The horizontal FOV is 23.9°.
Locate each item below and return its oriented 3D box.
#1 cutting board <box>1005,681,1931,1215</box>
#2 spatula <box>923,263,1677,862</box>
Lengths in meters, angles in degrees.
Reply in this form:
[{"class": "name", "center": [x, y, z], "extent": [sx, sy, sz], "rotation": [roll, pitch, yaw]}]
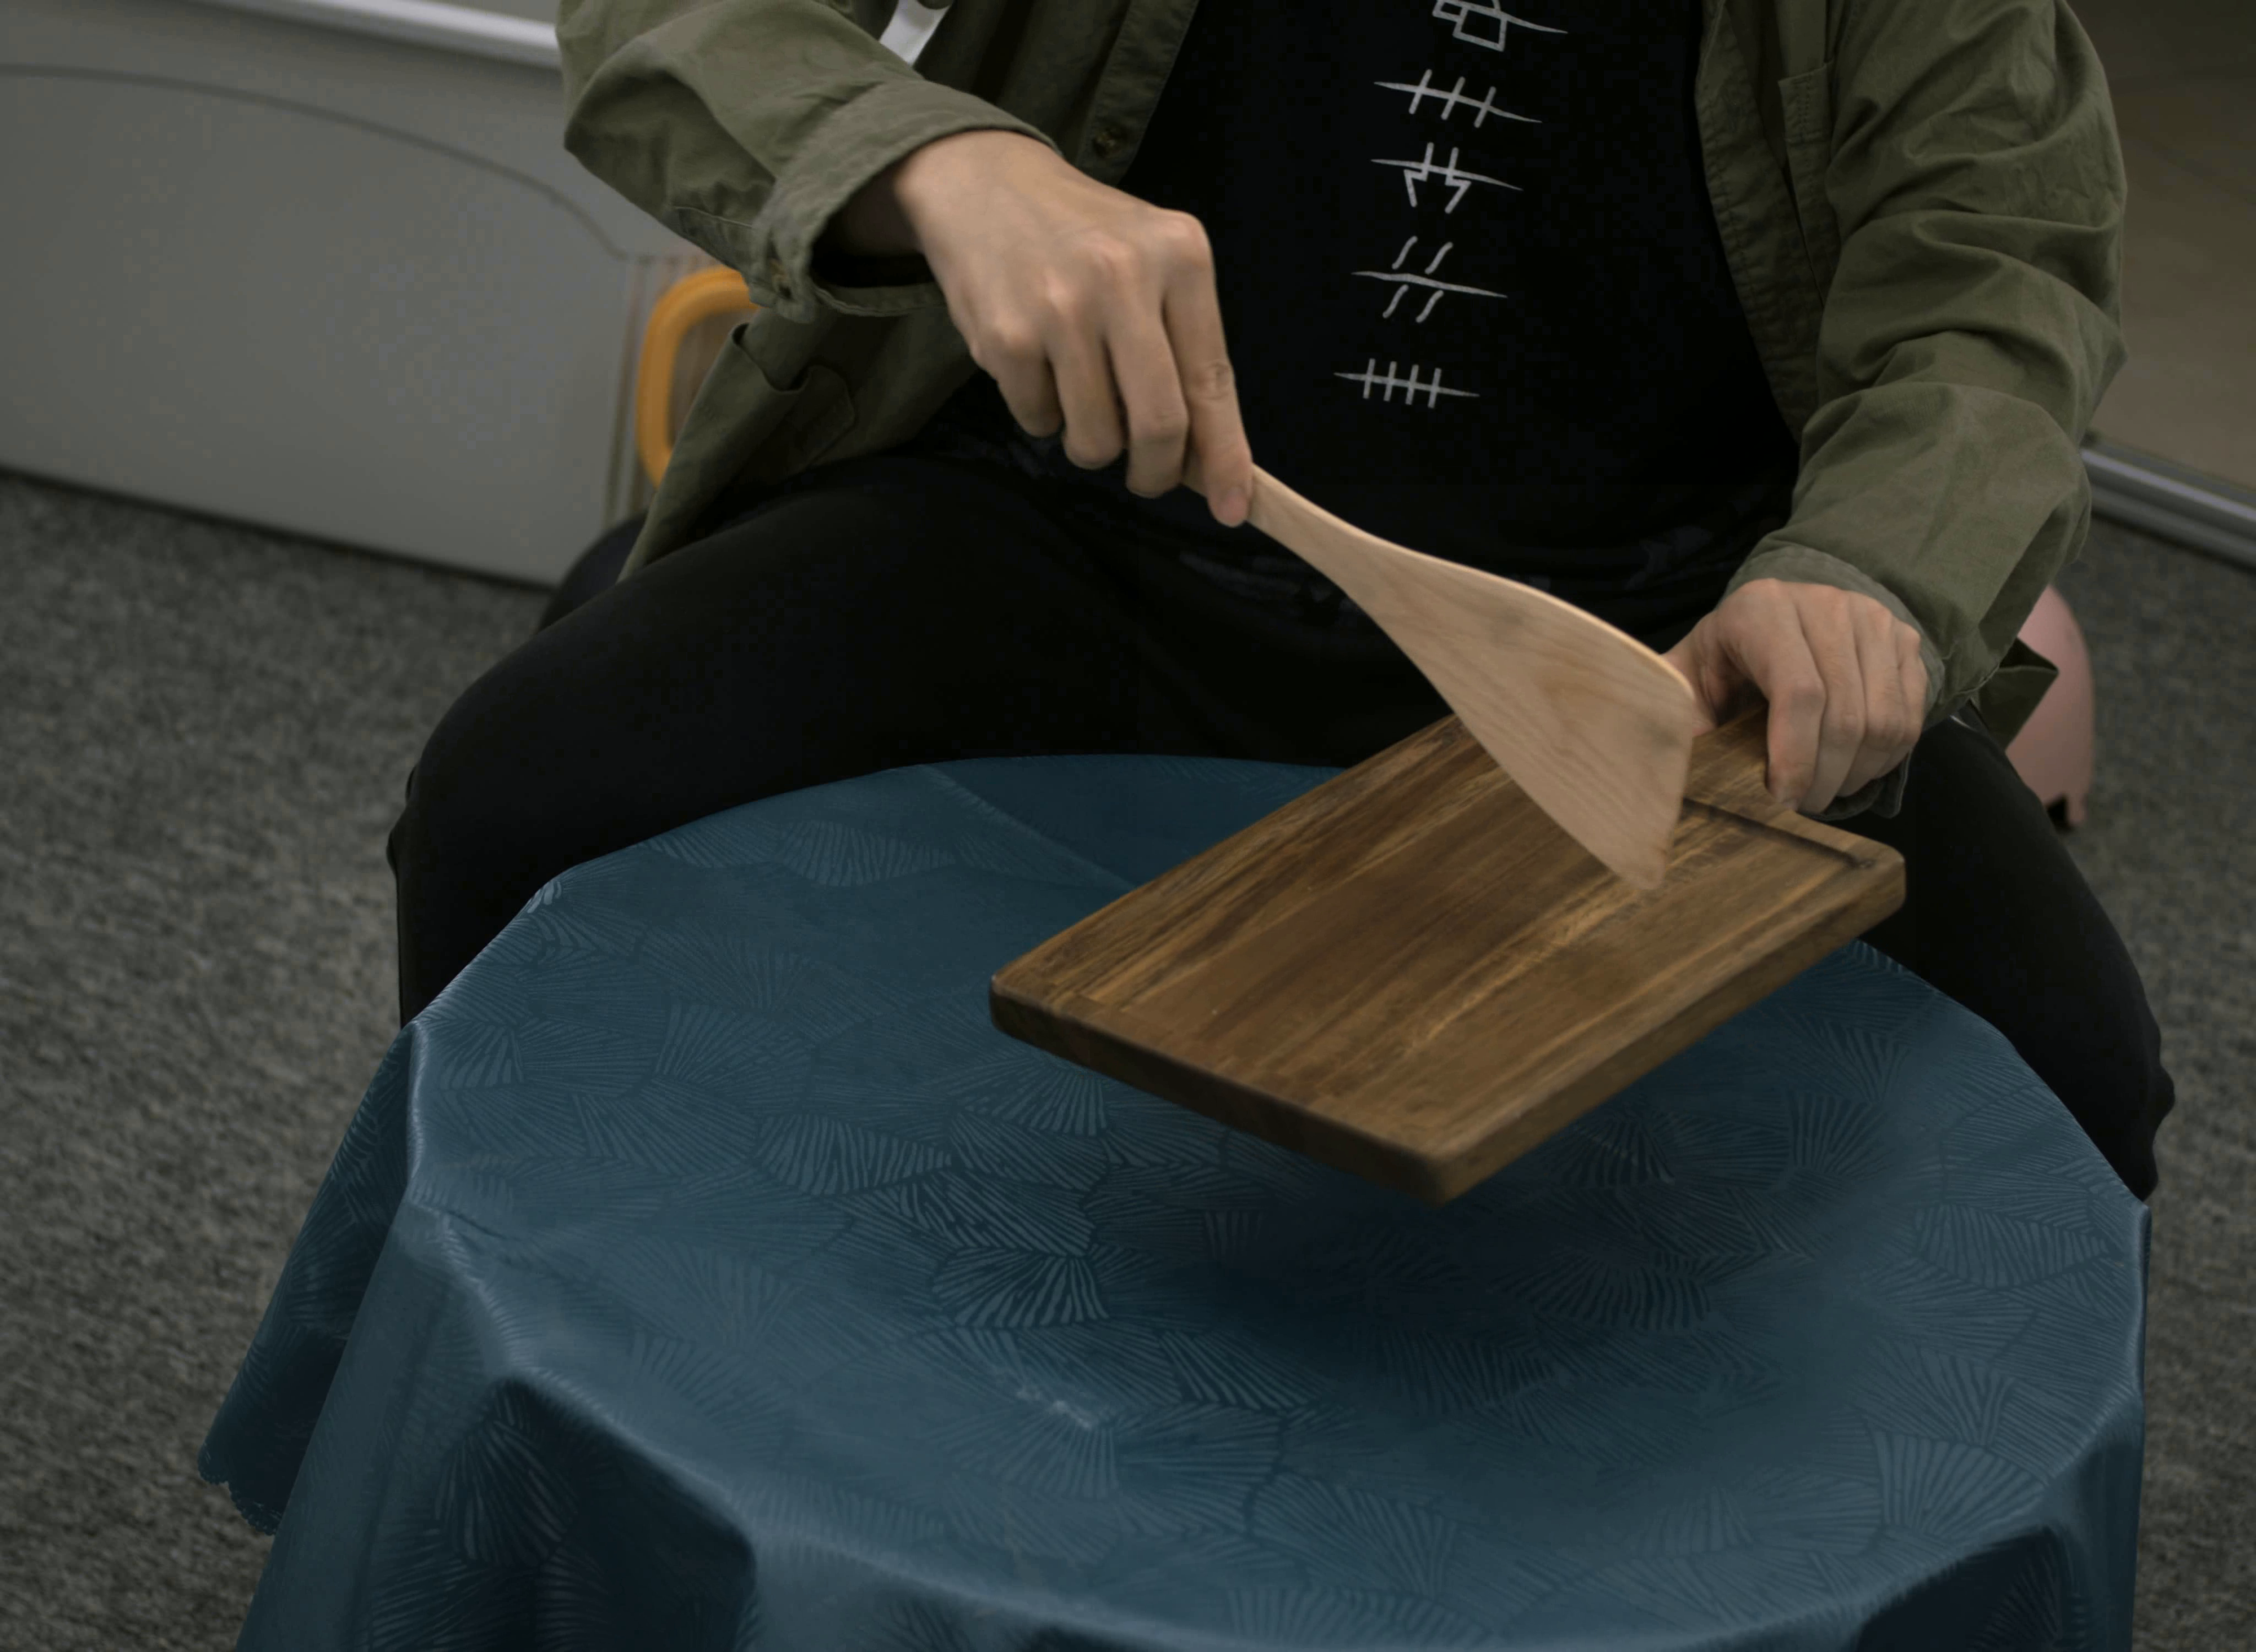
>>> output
[{"class": "cutting board", "center": [0.147, 0.023, 1.776], "extent": [0.202, 0.023, 0.351], "rotation": [20, 36, 40]}, {"class": "spatula", "center": [0.053, -0.102, 1.768], "extent": [0.329, 0.079, 0.016], "rotation": [34, 39, 23]}]
